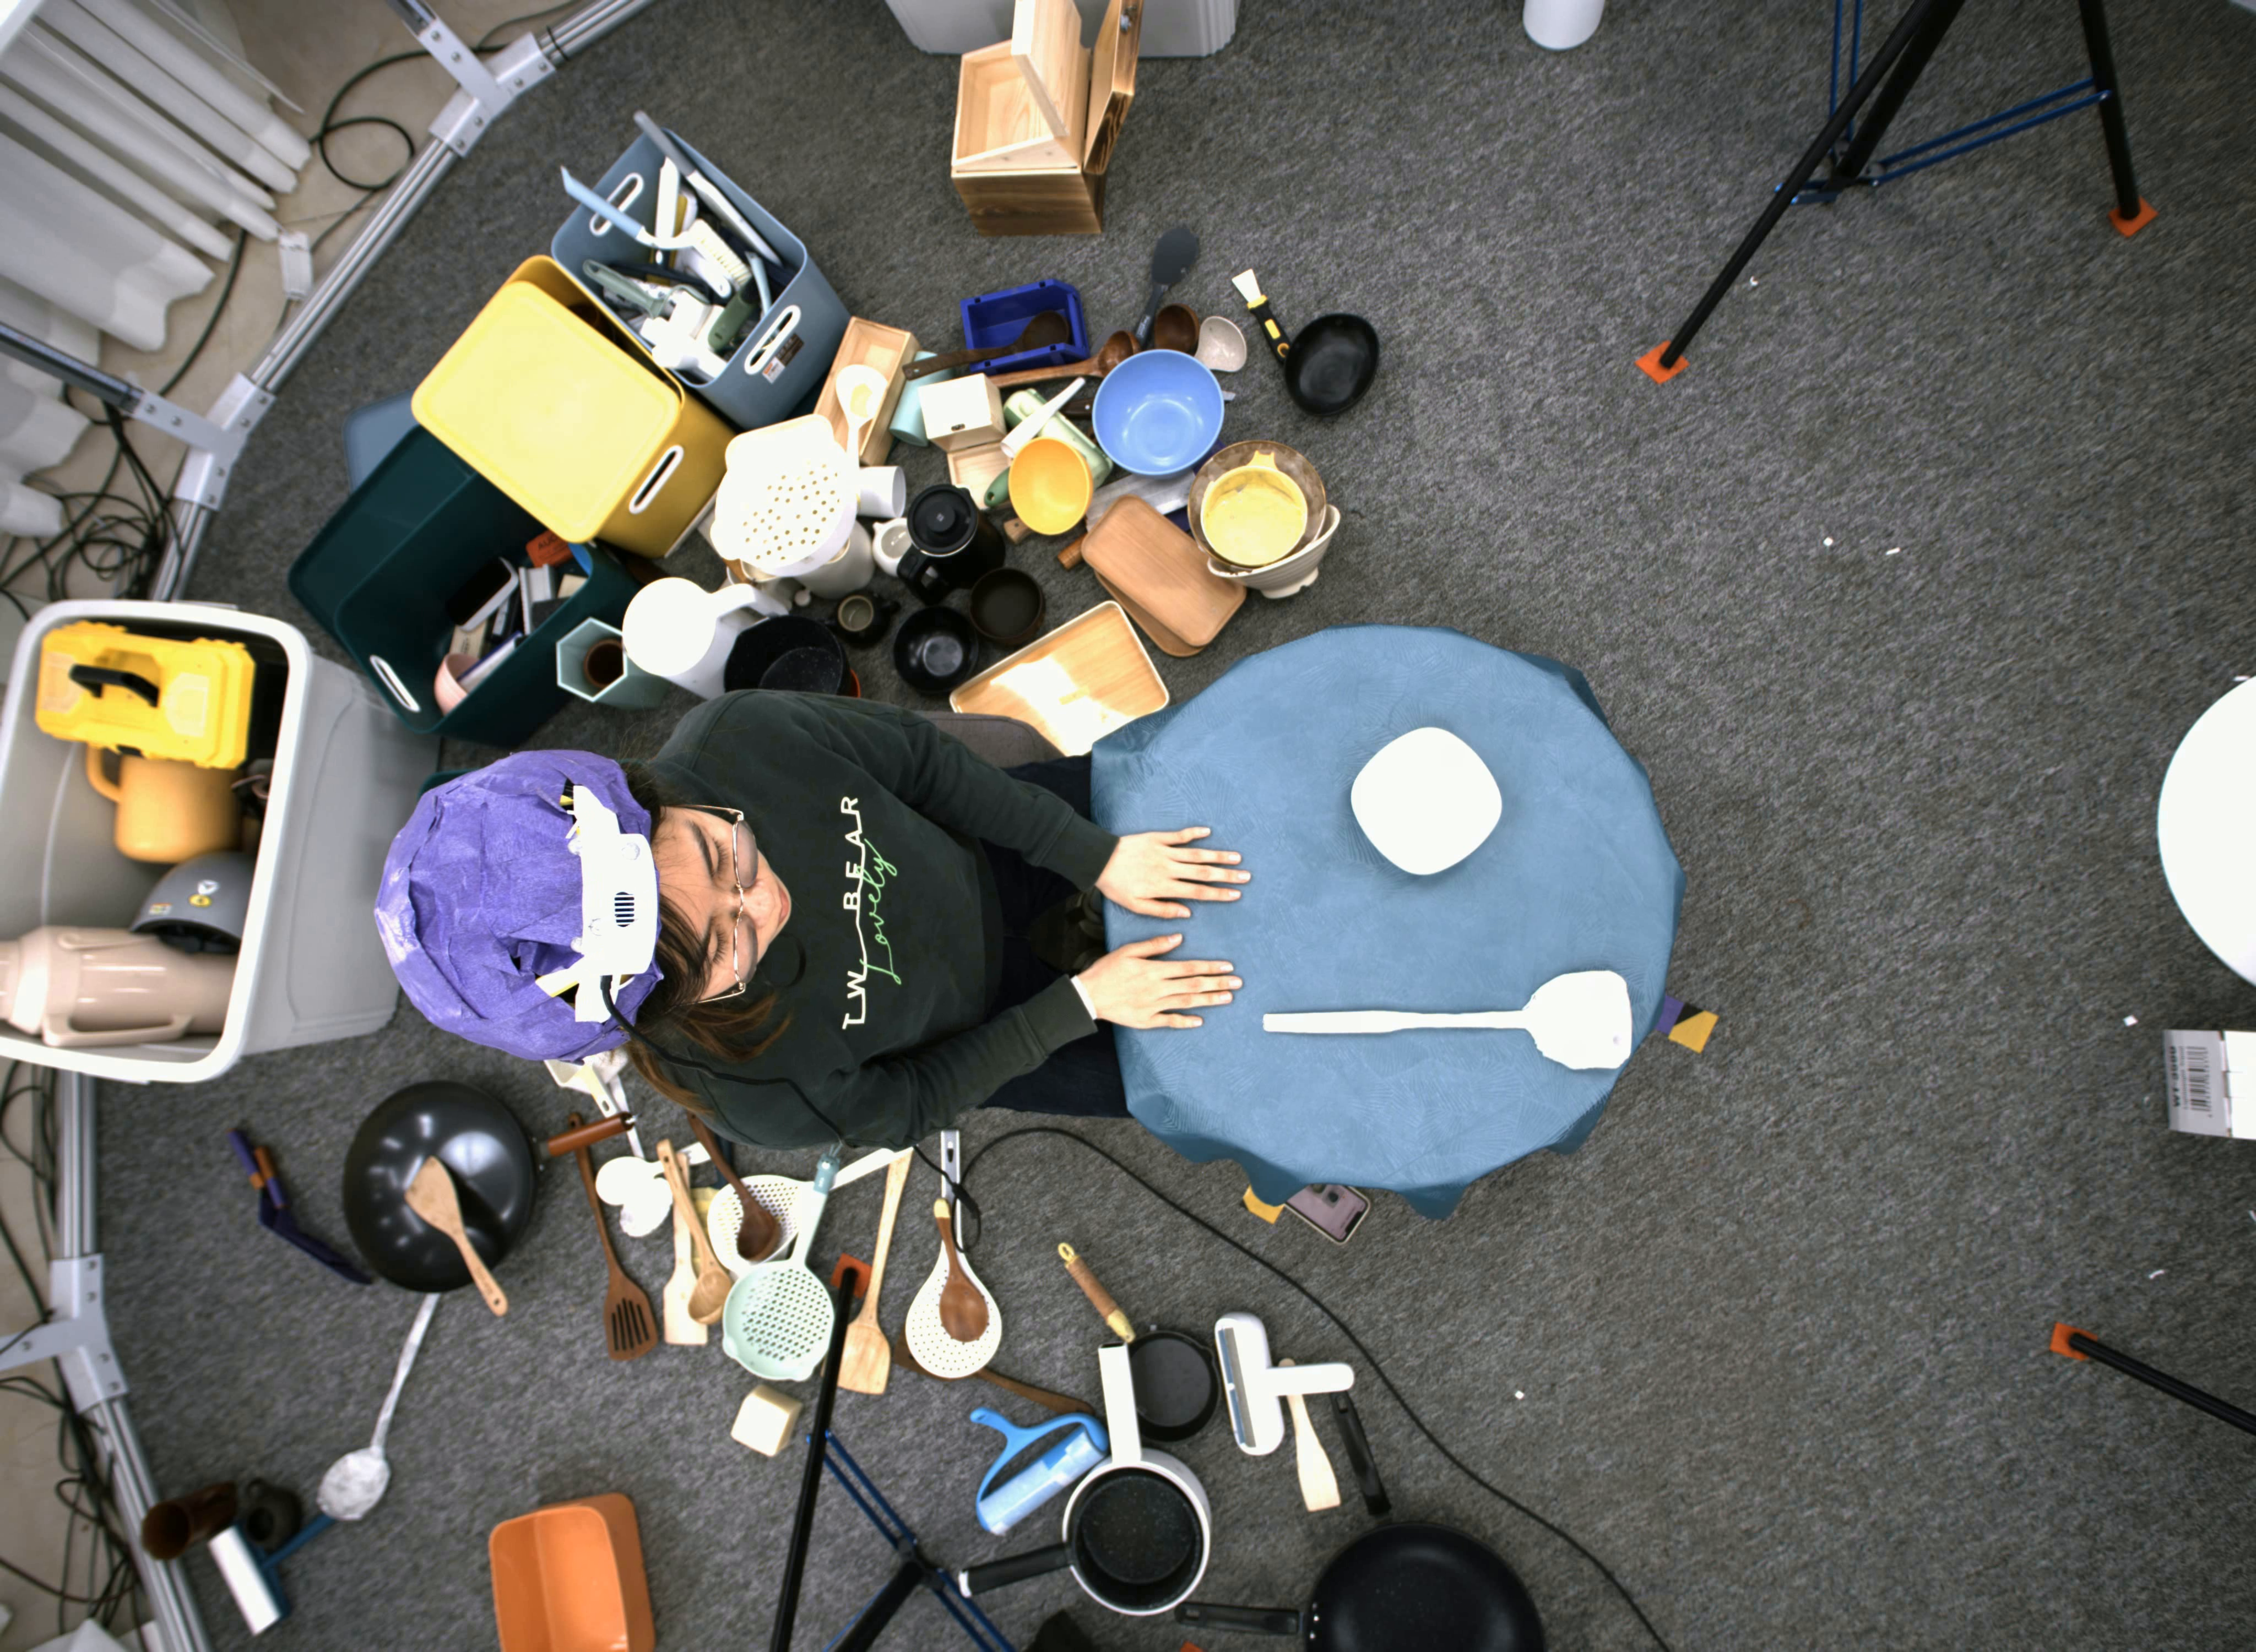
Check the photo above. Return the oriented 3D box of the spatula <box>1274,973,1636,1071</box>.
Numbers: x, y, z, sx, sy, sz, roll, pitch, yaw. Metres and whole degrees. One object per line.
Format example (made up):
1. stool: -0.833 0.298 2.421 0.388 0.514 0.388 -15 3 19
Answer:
1. spatula: 0.332 0.197 1.425 0.366 0.045 0.098 -1 87 10

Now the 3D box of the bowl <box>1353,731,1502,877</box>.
1. bowl: 0.310 -0.021 1.436 0.152 0.059 0.150 -1 85 8
